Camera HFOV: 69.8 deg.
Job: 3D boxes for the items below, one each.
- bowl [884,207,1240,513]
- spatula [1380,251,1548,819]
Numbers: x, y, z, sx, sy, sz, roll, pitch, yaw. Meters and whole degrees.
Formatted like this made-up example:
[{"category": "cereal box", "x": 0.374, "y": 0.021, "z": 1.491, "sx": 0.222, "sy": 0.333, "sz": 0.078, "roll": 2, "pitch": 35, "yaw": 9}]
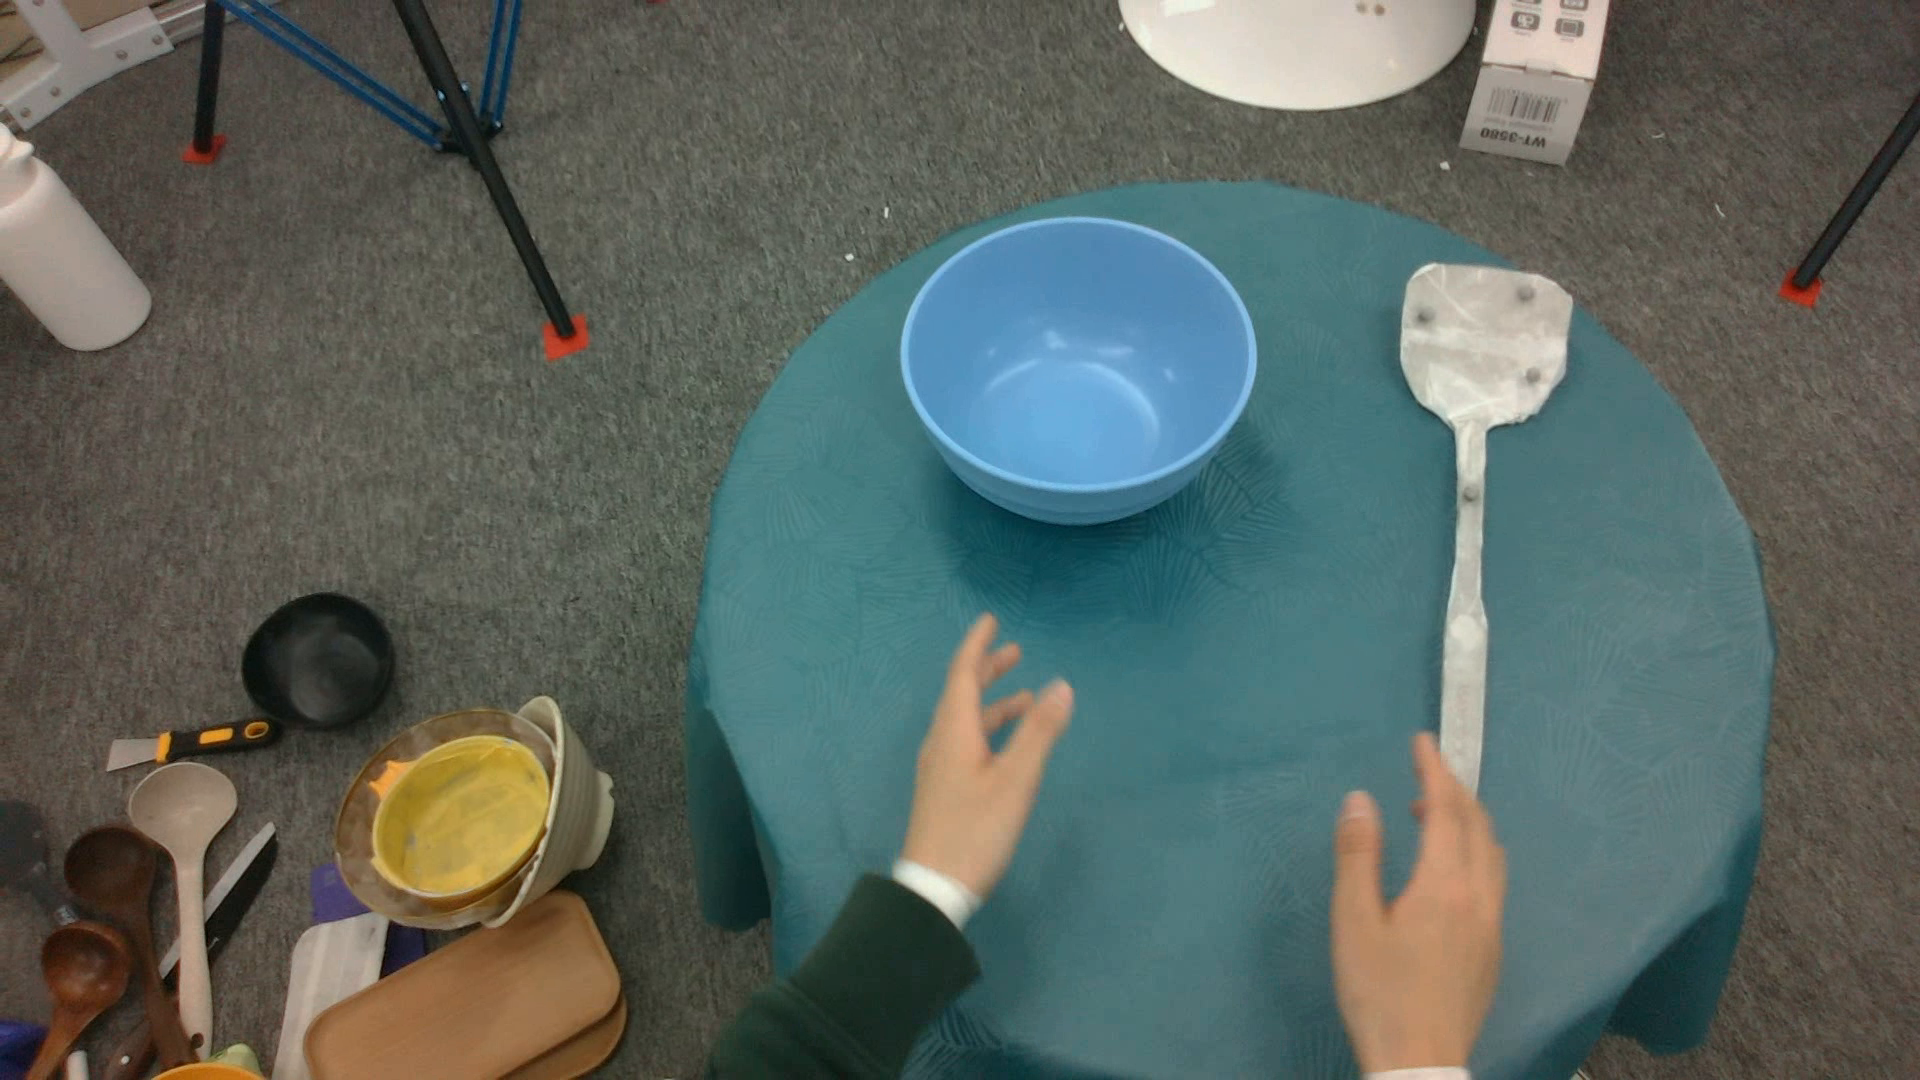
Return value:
[{"category": "bowl", "x": 0.056, "y": -0.090, "z": 0.797, "sx": 0.196, "sy": 0.095, "sz": 0.197, "roll": 0, "pitch": 57, "yaw": 0}, {"category": "spatula", "x": 0.273, "y": -0.016, "z": 0.777, "sx": 0.098, "sy": 0.044, "sz": 0.366, "roll": 12, "pitch": 58, "yaw": 7}]
